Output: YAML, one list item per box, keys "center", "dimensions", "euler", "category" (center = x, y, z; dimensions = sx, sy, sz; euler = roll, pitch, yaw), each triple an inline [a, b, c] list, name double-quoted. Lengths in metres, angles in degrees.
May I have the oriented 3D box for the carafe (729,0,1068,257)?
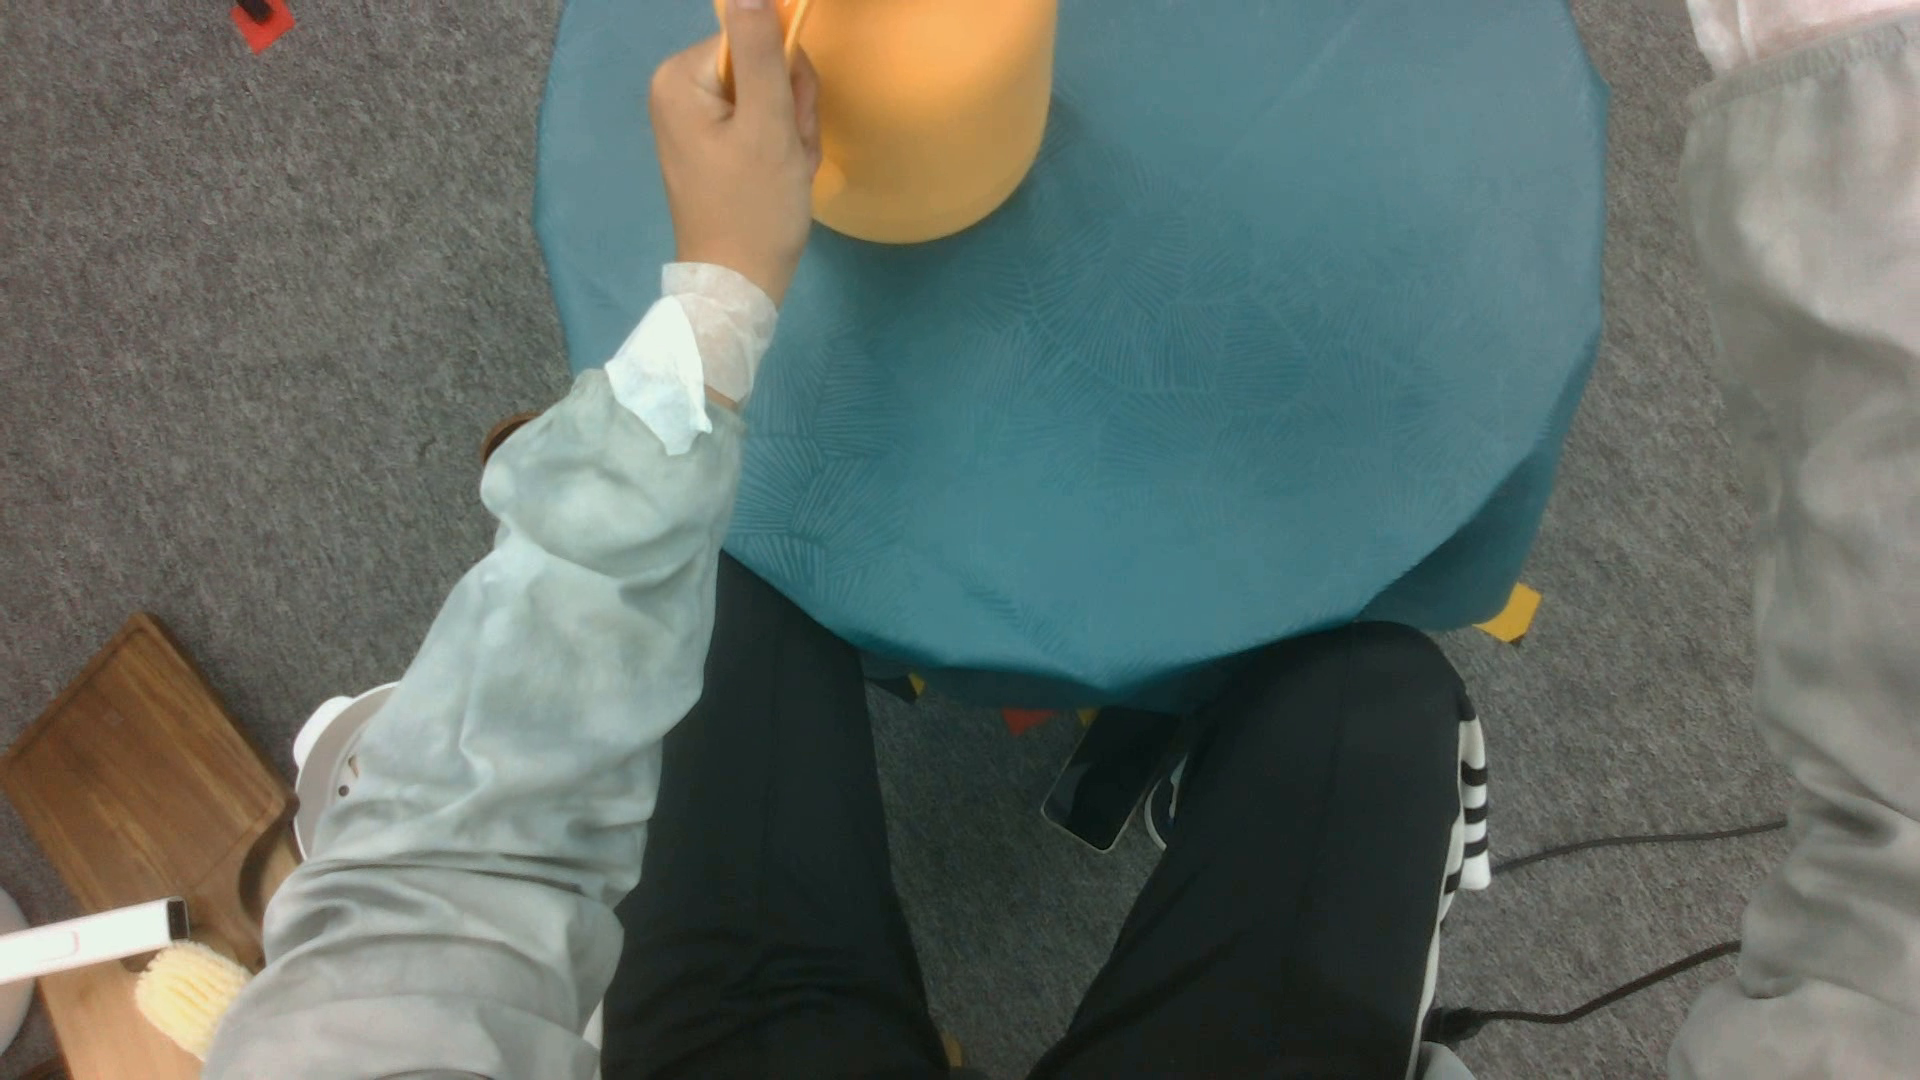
- center: [-0.039, -0.239, 0.660]
  dimensions: [0.163, 0.260, 0.203]
  euler: [26, 78, 8]
  category: "carafe"

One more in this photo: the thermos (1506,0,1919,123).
- center: [0.201, -0.256, 0.430]
  dimensions: [0.407, 0.207, 0.175]
  euler: [11, 108, -17]
  category: "thermos"
